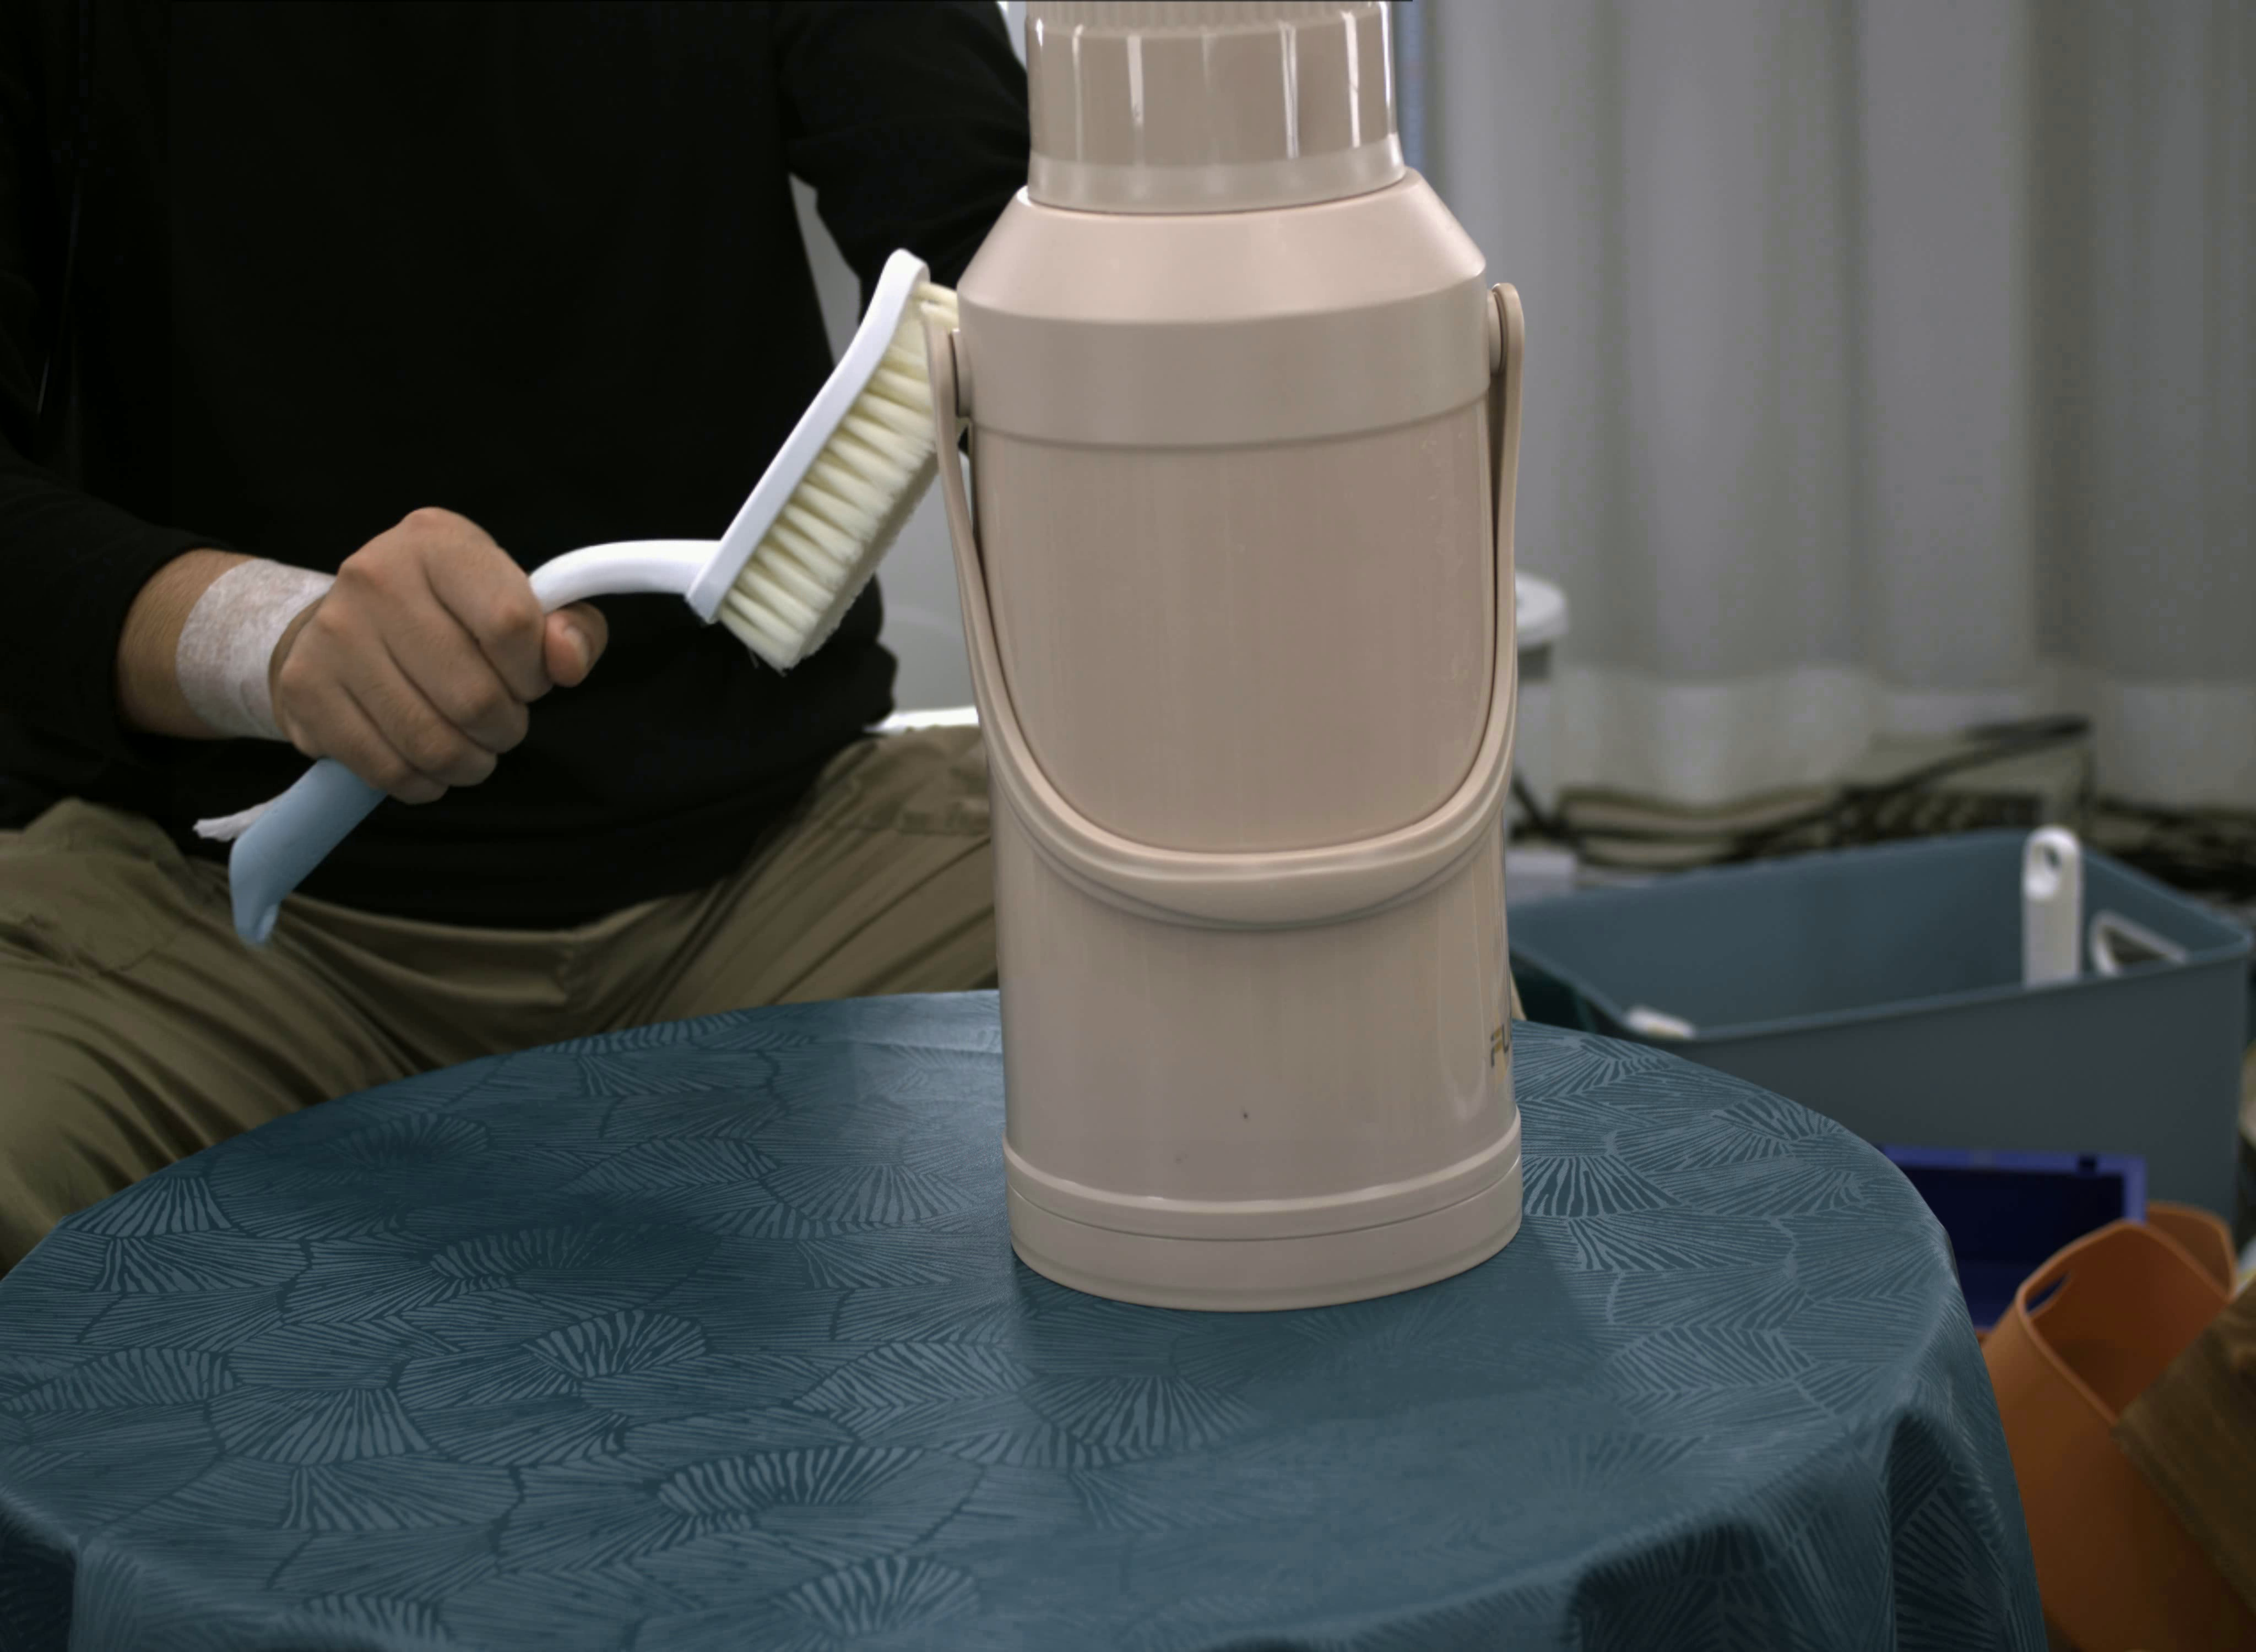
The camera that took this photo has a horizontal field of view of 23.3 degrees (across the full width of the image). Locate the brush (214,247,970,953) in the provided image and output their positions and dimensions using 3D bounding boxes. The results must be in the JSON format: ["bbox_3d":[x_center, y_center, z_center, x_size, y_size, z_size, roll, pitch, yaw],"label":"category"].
[{"bbox_3d":[-0.156,-0.047,1.713,0.082,0.324,0.086,27,26,-47],"label":"brush"}]

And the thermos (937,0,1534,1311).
[{"bbox_3d":[0.034,-0.073,1.647,0.174,0.405,0.208,-6,14,-7],"label":"thermos"}]
